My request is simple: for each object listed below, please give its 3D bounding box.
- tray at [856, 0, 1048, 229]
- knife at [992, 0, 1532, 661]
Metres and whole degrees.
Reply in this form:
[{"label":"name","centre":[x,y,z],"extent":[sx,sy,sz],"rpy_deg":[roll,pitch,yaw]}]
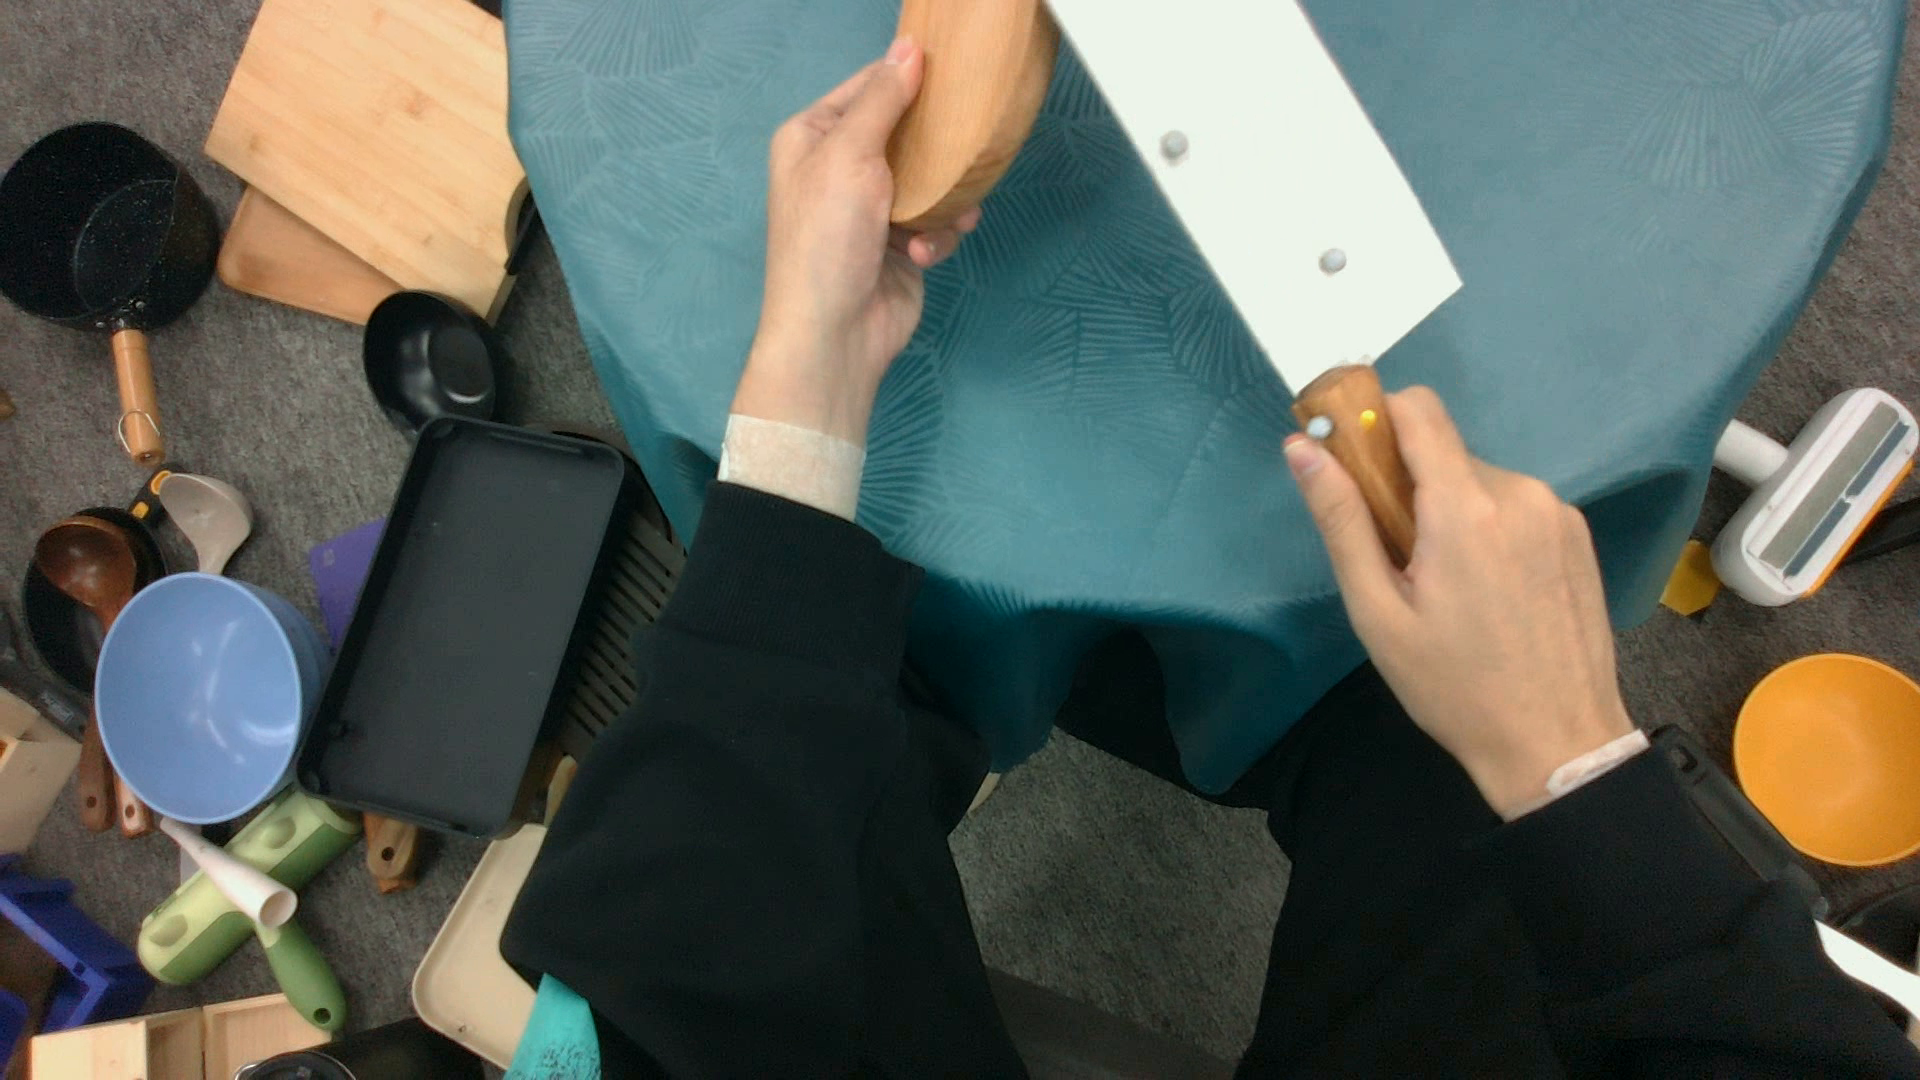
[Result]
[{"label":"tray","centre":[0.007,-0.222,0.523],"extent":[0.020,0.101,0.232],"rpy_deg":[20,70,-29]},{"label":"knife","centre":[0.118,-0.098,0.478],"extent":[0.093,0.021,0.305],"rpy_deg":[-42,99,-24]}]
